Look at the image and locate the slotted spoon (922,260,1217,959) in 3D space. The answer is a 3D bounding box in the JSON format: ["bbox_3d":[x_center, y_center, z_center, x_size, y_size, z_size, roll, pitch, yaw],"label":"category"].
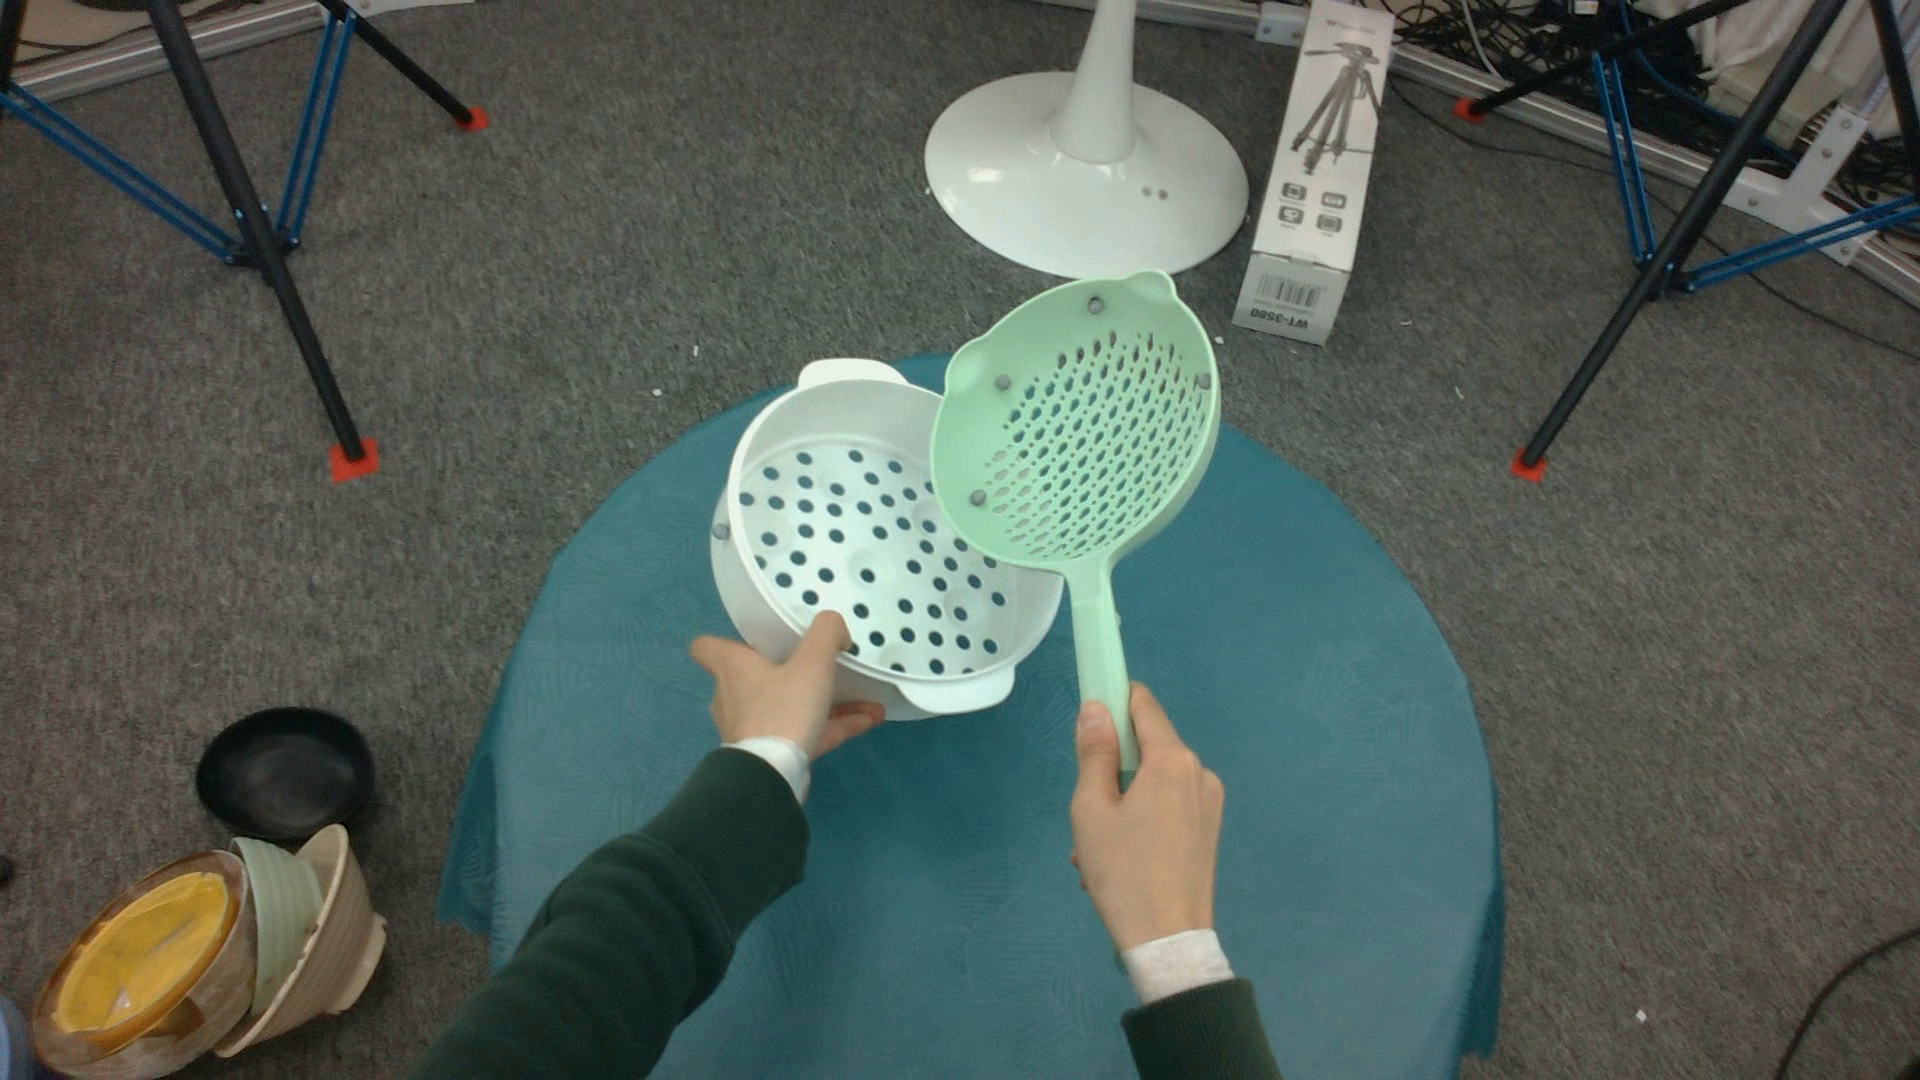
[{"bbox_3d":[0.064,0.019,0.684,0.169,0.075,0.360,-19,49,25],"label":"slotted spoon"}]

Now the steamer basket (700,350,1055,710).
[{"bbox_3d":[-0.048,0.000,0.791,0.202,0.069,0.231,-6,62,-30],"label":"steamer basket"}]
